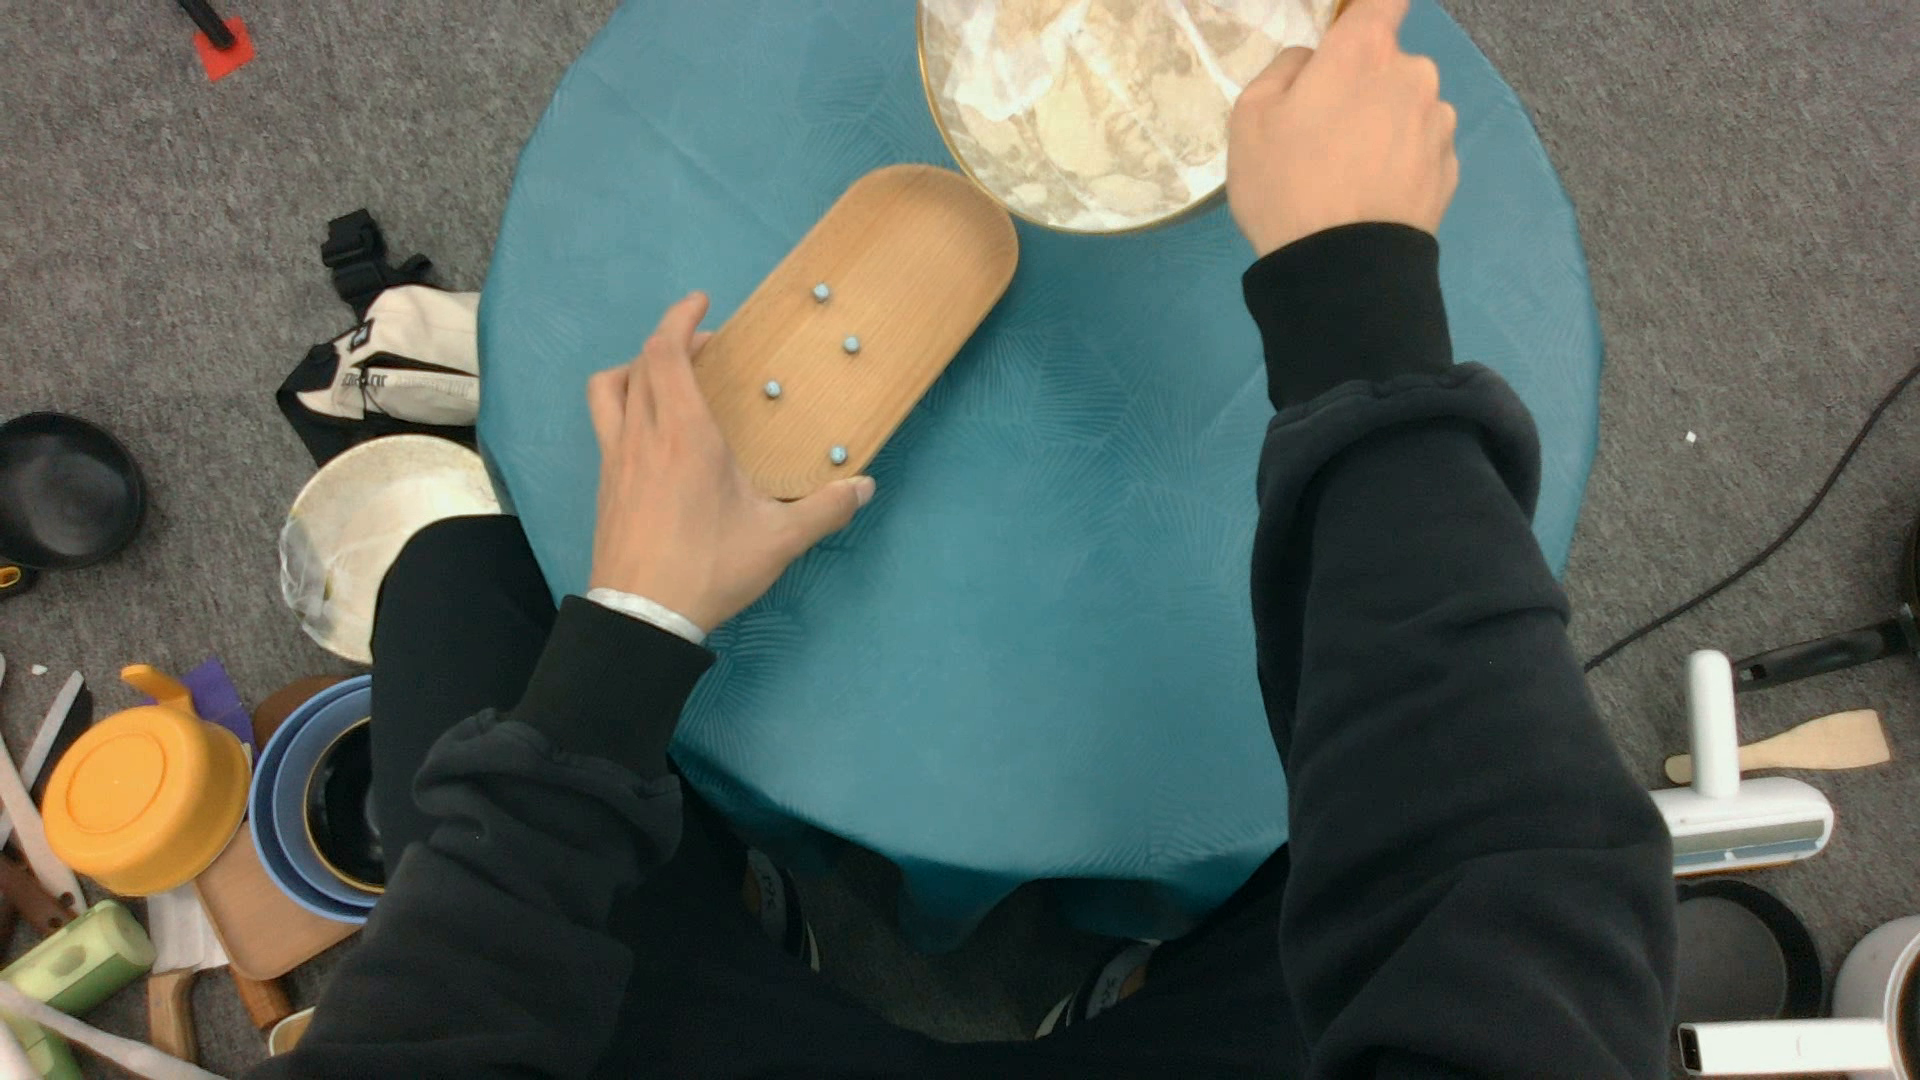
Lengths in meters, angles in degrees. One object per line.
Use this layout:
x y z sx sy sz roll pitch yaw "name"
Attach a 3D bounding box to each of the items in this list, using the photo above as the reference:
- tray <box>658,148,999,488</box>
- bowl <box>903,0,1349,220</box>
-0.063 -0.118 0.702 0.101 0.020 0.232 32 60 4 "tray"
0.080 -0.239 0.623 0.214 0.095 0.214 2 94 27 "bowl"
